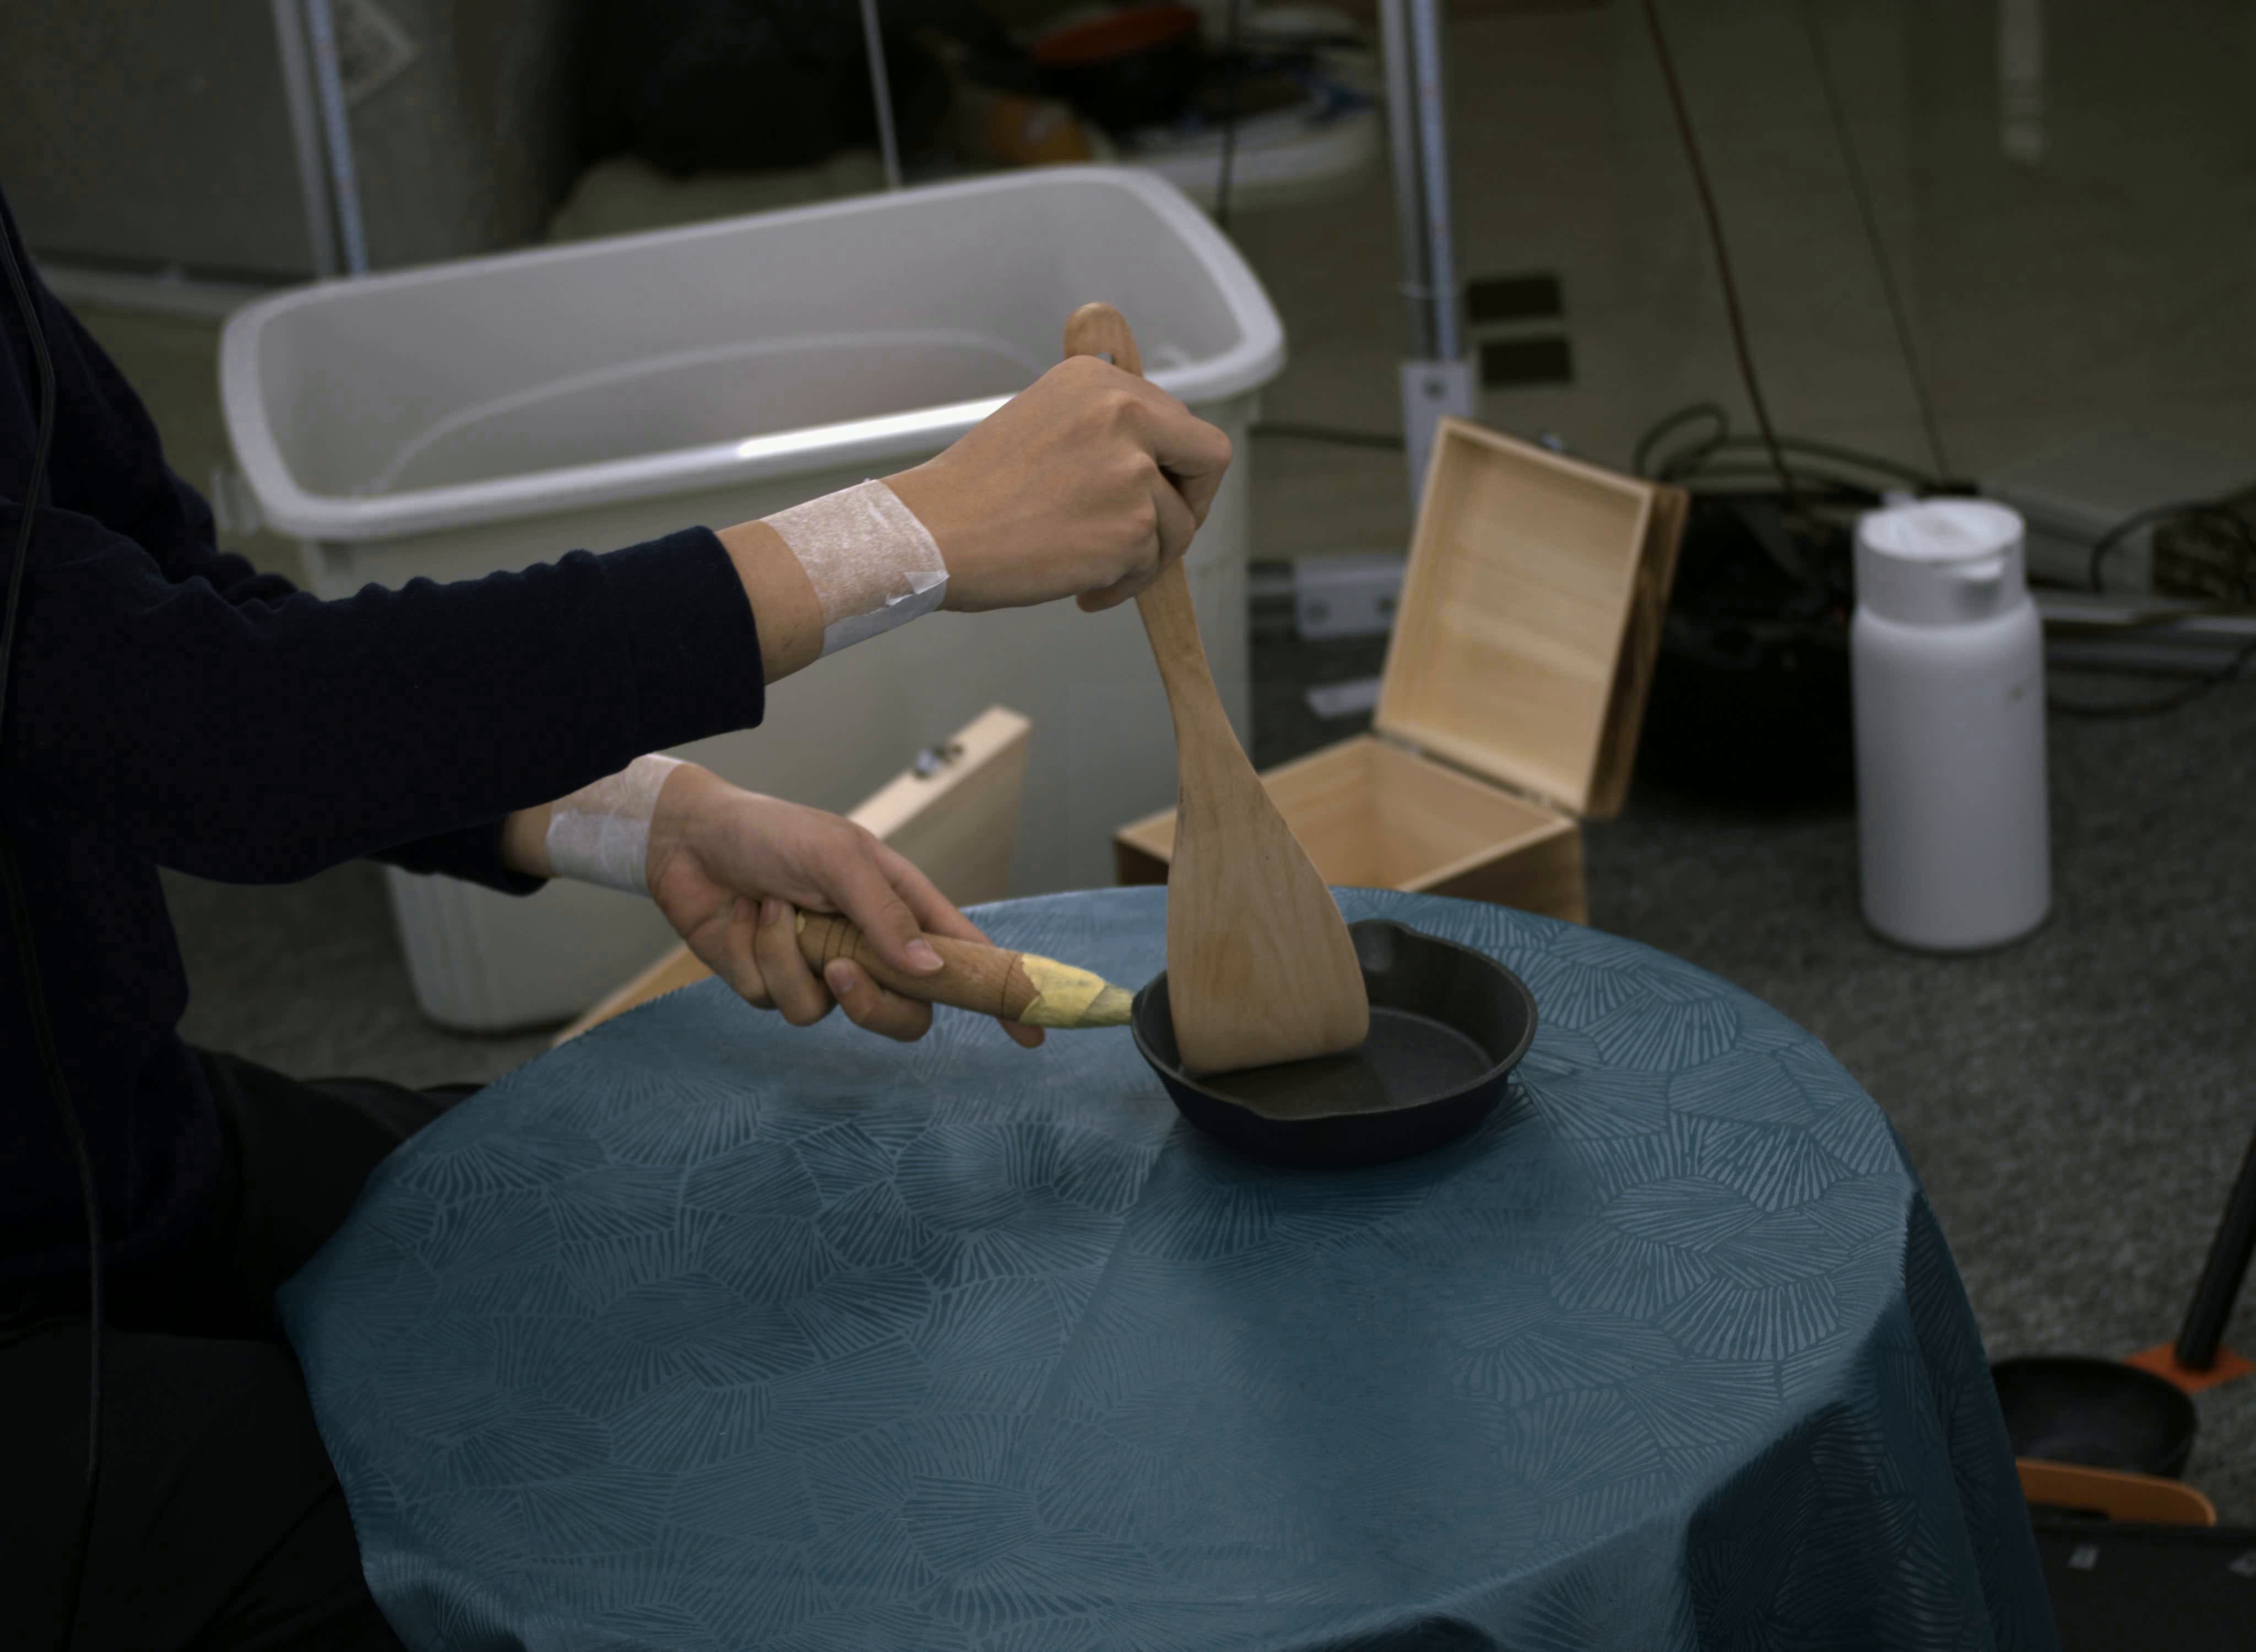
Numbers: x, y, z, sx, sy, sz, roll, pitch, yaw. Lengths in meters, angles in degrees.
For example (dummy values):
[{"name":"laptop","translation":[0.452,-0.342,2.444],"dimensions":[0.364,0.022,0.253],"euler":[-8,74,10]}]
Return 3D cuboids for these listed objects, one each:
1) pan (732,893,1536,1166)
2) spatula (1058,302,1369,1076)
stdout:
[{"name":"pan","translation":[-0.001,0.070,2.209],"dimensions":[0.323,0.050,0.166],"euler":[8,28,16]},{"name":"spatula","translation":[0.021,-0.046,2.138],"dimensions":[0.080,0.332,0.016],"euler":[-19,24,-8]}]
